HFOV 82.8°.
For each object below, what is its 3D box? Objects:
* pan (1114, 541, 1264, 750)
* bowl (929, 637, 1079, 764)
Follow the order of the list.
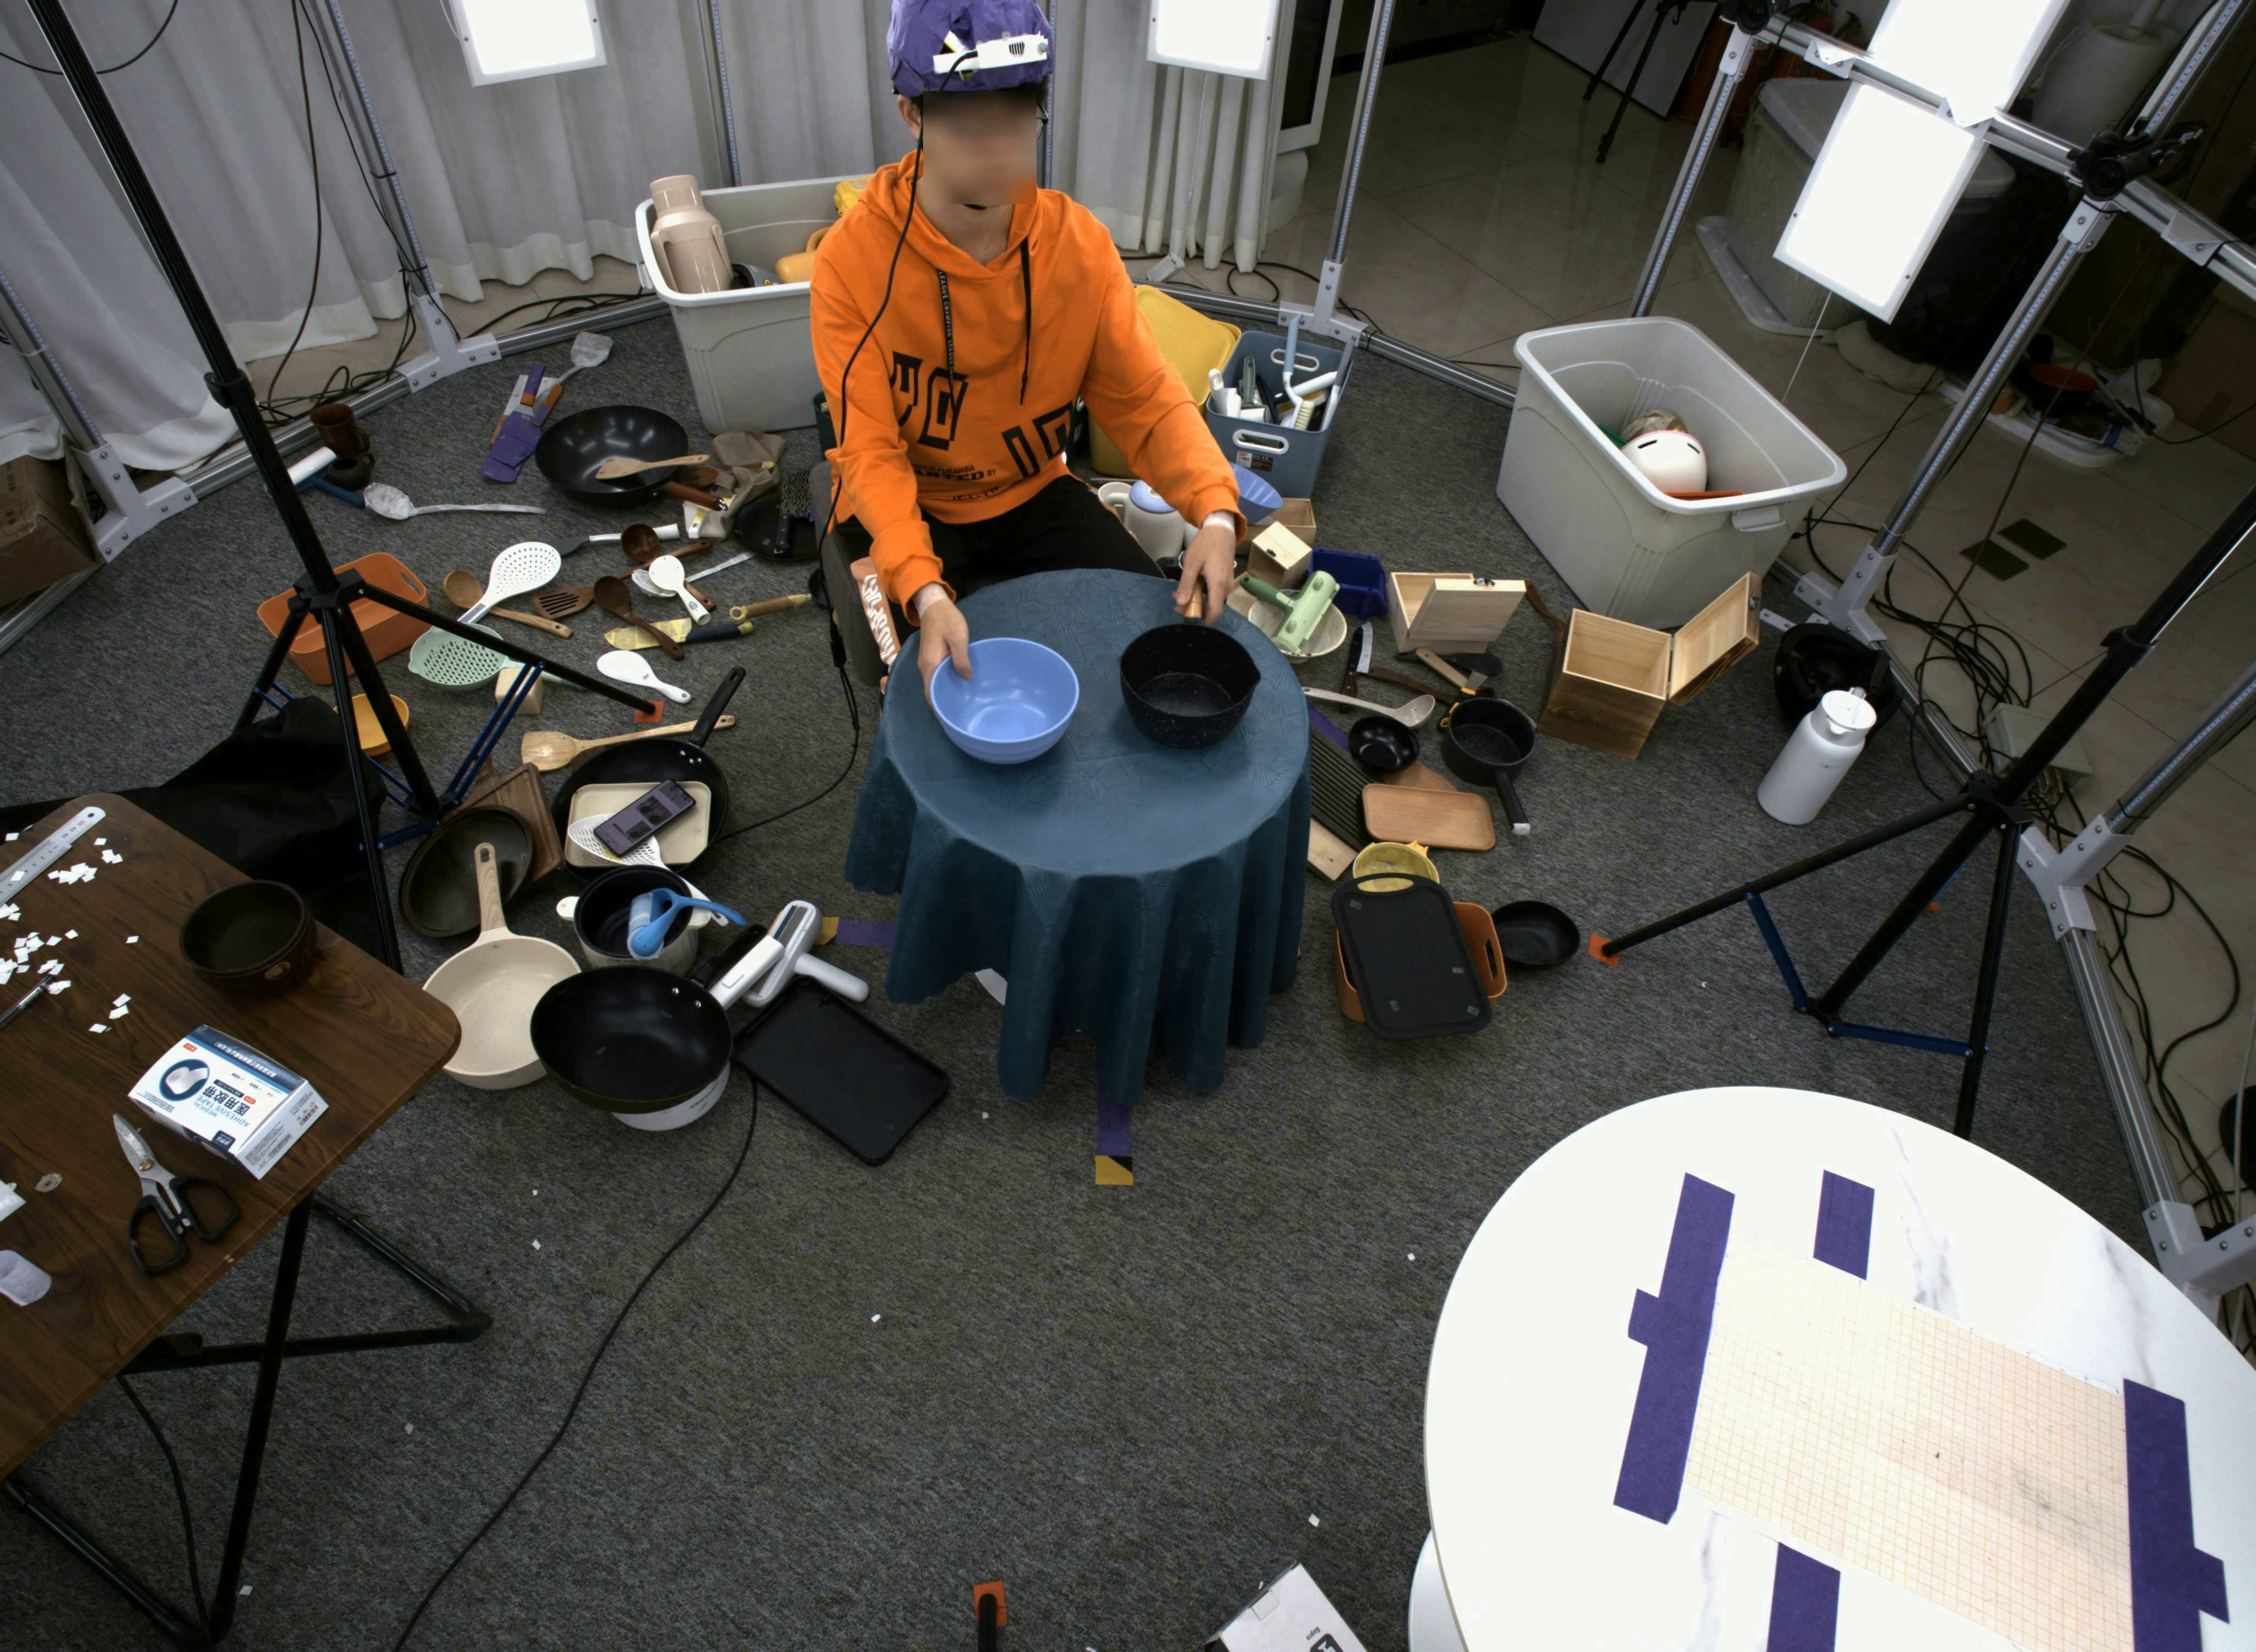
[{"bbox_3d":[0.087,-0.258,1.828,0.207,0.105,0.351,4,50,1],"label":"pan"},{"bbox_3d":[-0.166,-0.154,1.728,0.196,0.093,0.201,2,50,-2],"label":"bowl"}]
